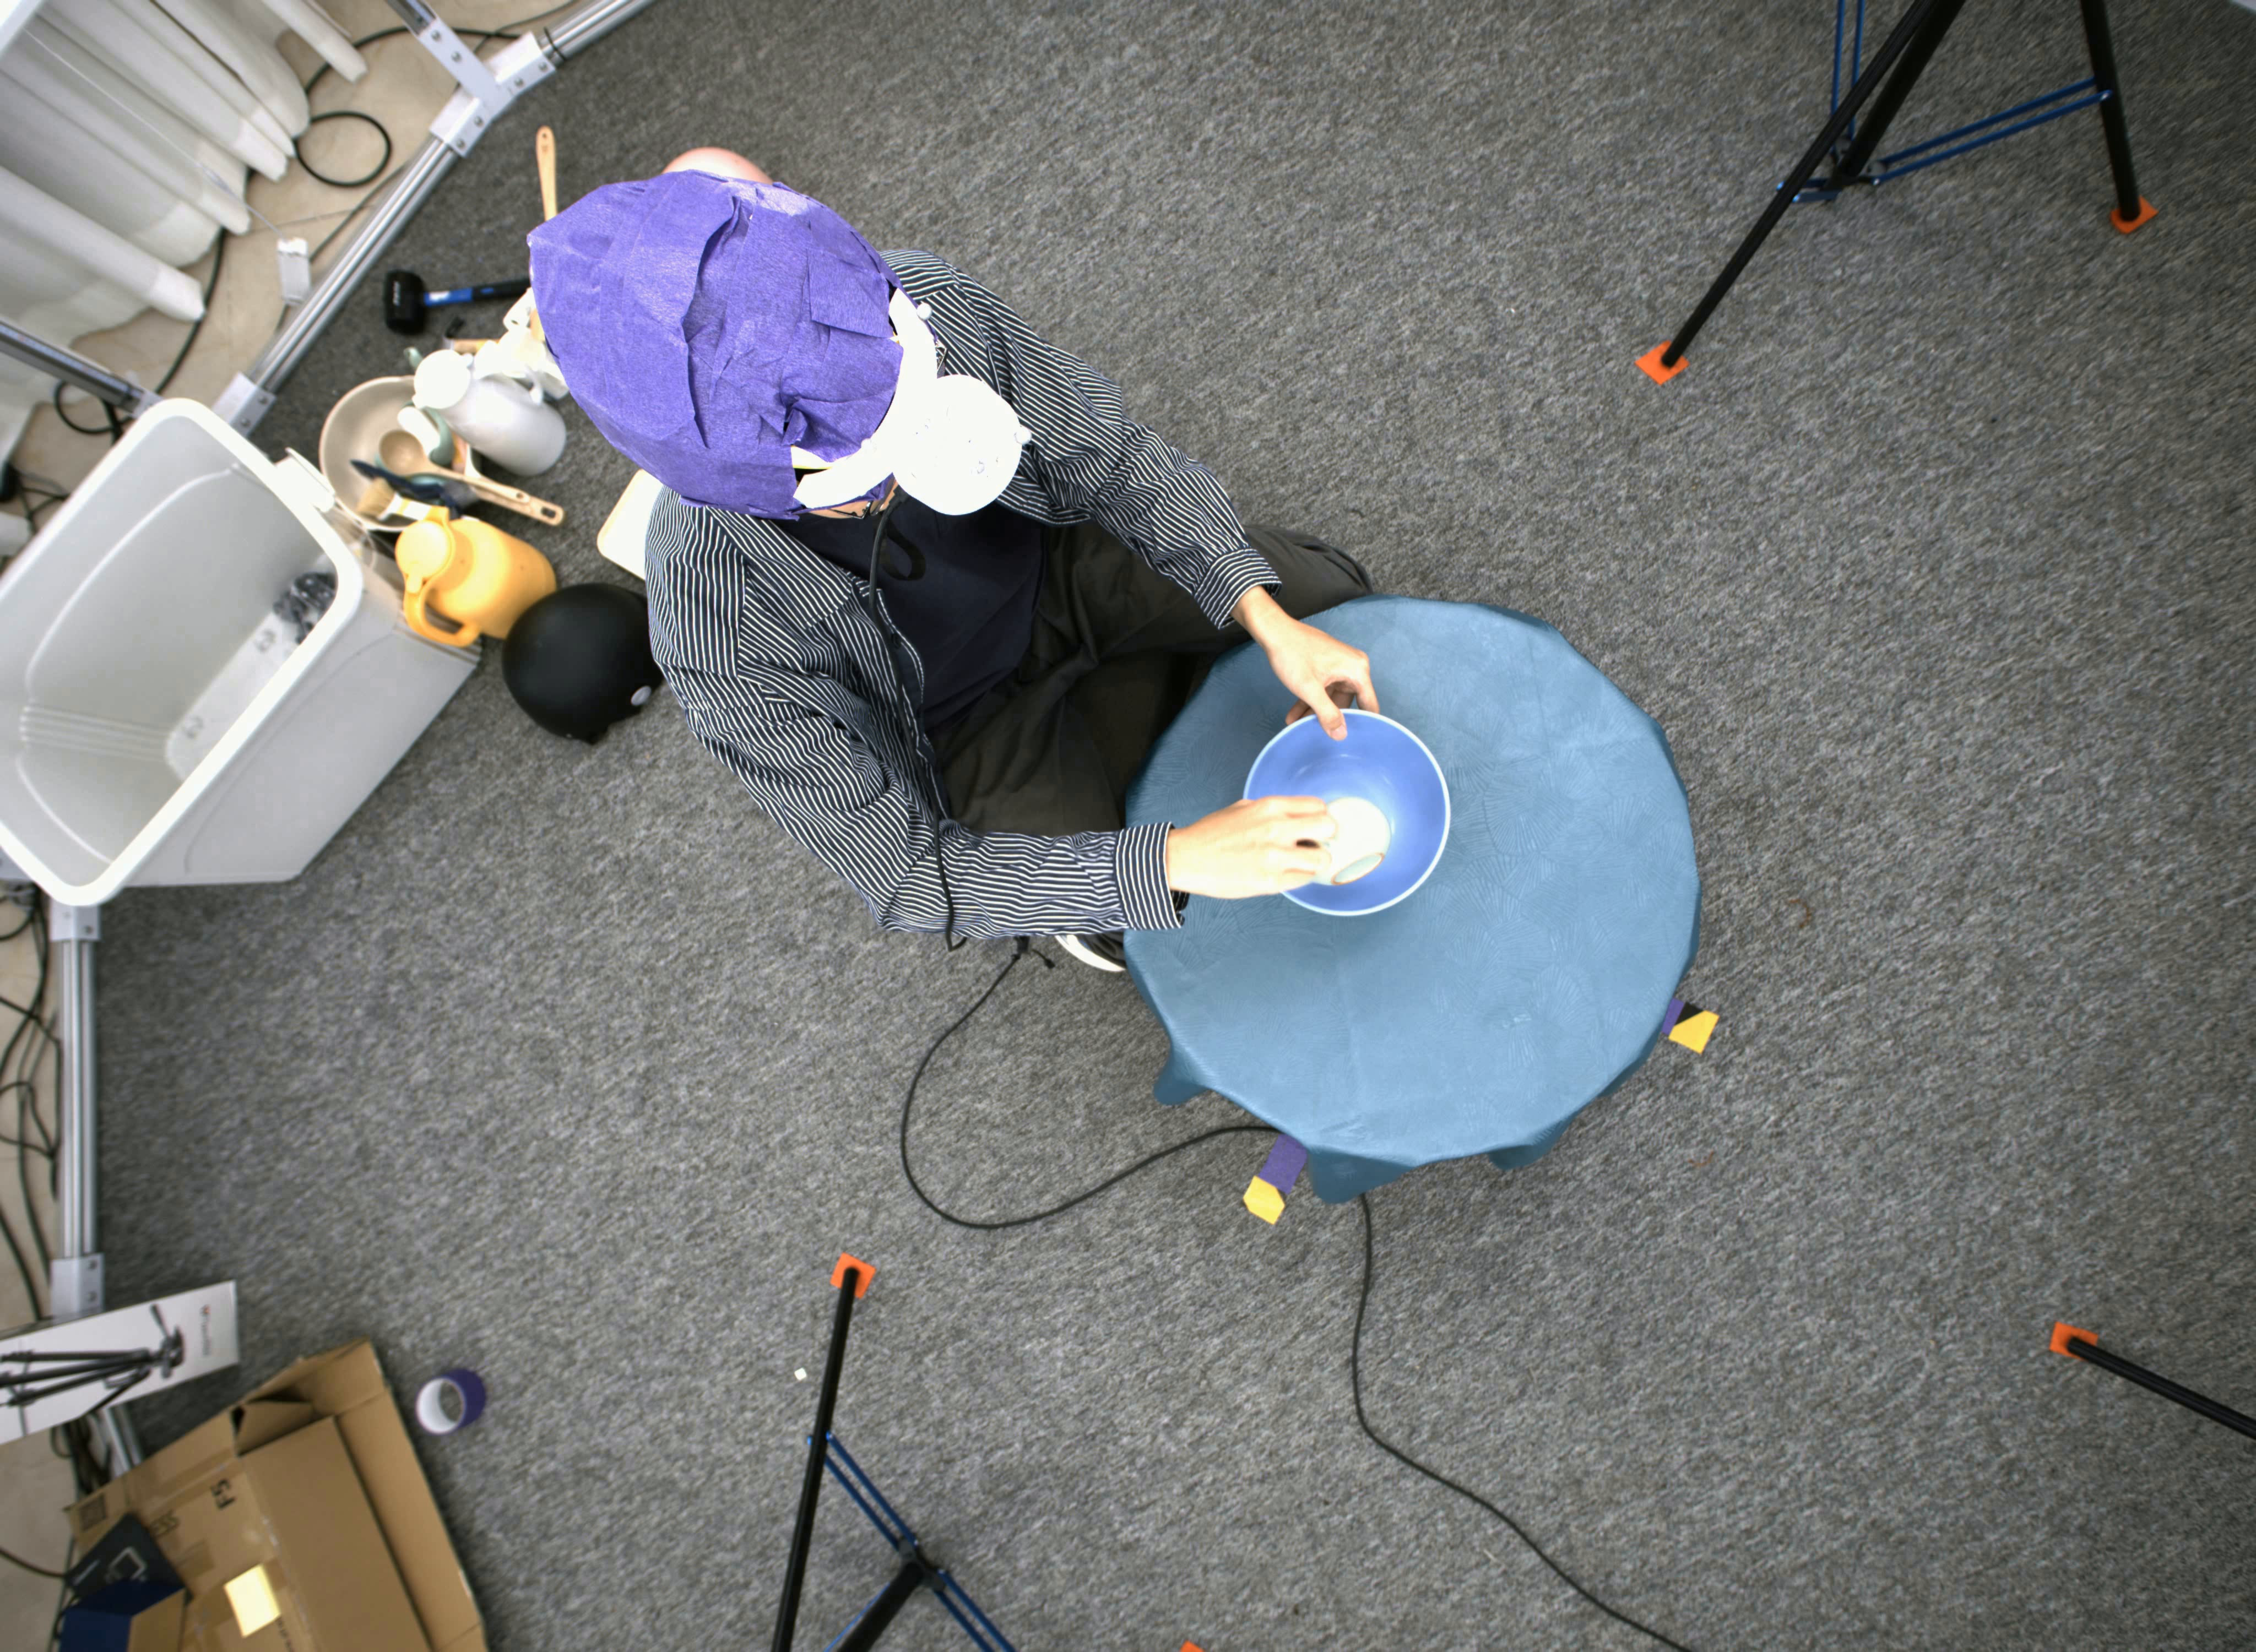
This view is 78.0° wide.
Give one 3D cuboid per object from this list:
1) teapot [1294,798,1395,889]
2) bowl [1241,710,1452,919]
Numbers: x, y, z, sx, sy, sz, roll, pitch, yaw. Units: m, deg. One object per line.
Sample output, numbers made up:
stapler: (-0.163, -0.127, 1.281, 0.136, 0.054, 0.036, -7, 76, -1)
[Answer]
teapot: (0.187, 0.016, 1.227, 0.093, 0.128, 0.060, -37, 66, 30)
bowl: (0.208, -0.009, 1.336, 0.197, 0.095, 0.196, 0, 89, 5)
